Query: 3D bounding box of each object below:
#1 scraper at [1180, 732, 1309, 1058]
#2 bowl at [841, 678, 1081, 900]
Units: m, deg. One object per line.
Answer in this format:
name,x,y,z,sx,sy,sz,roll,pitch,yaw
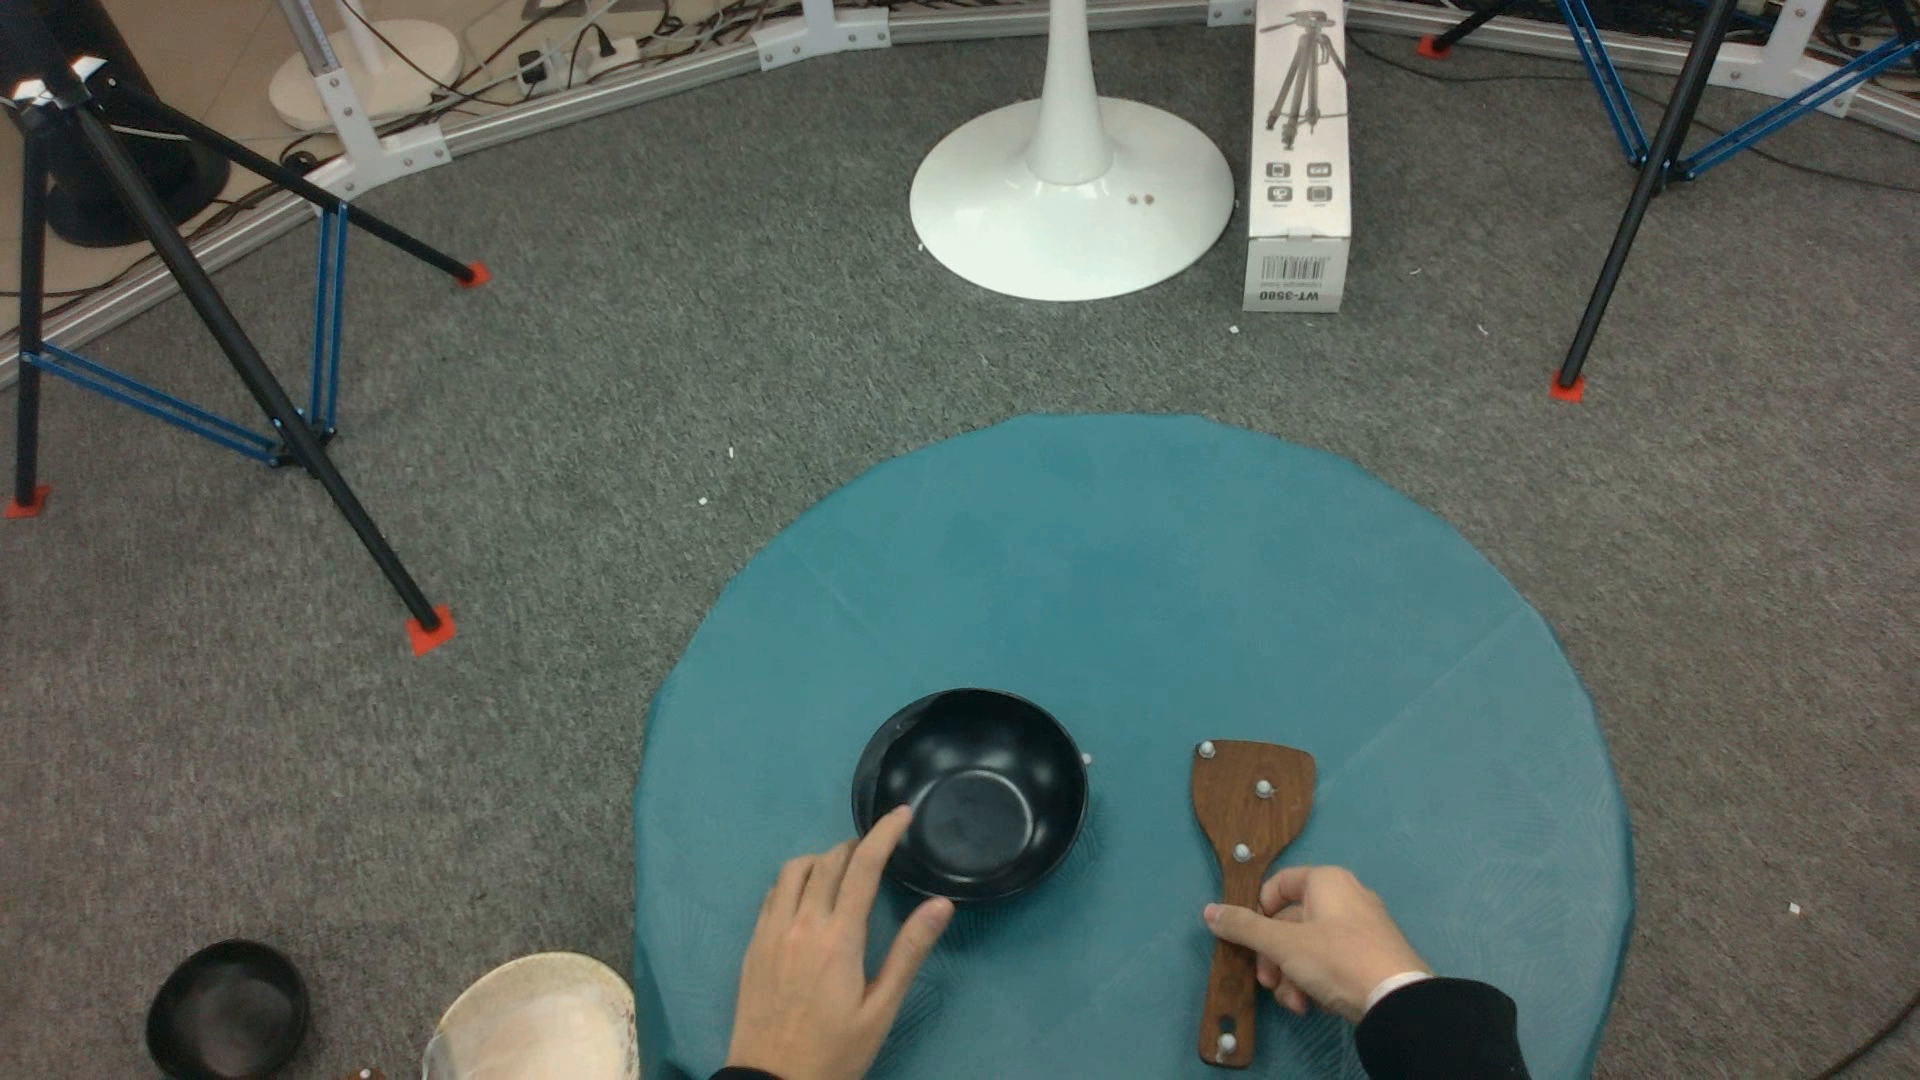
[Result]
scraper,0.154,0.193,0.779,0.076,0.011,0.212,5,43,13
bowl,0.000,0.153,0.813,0.140,0.049,0.140,0,52,0
